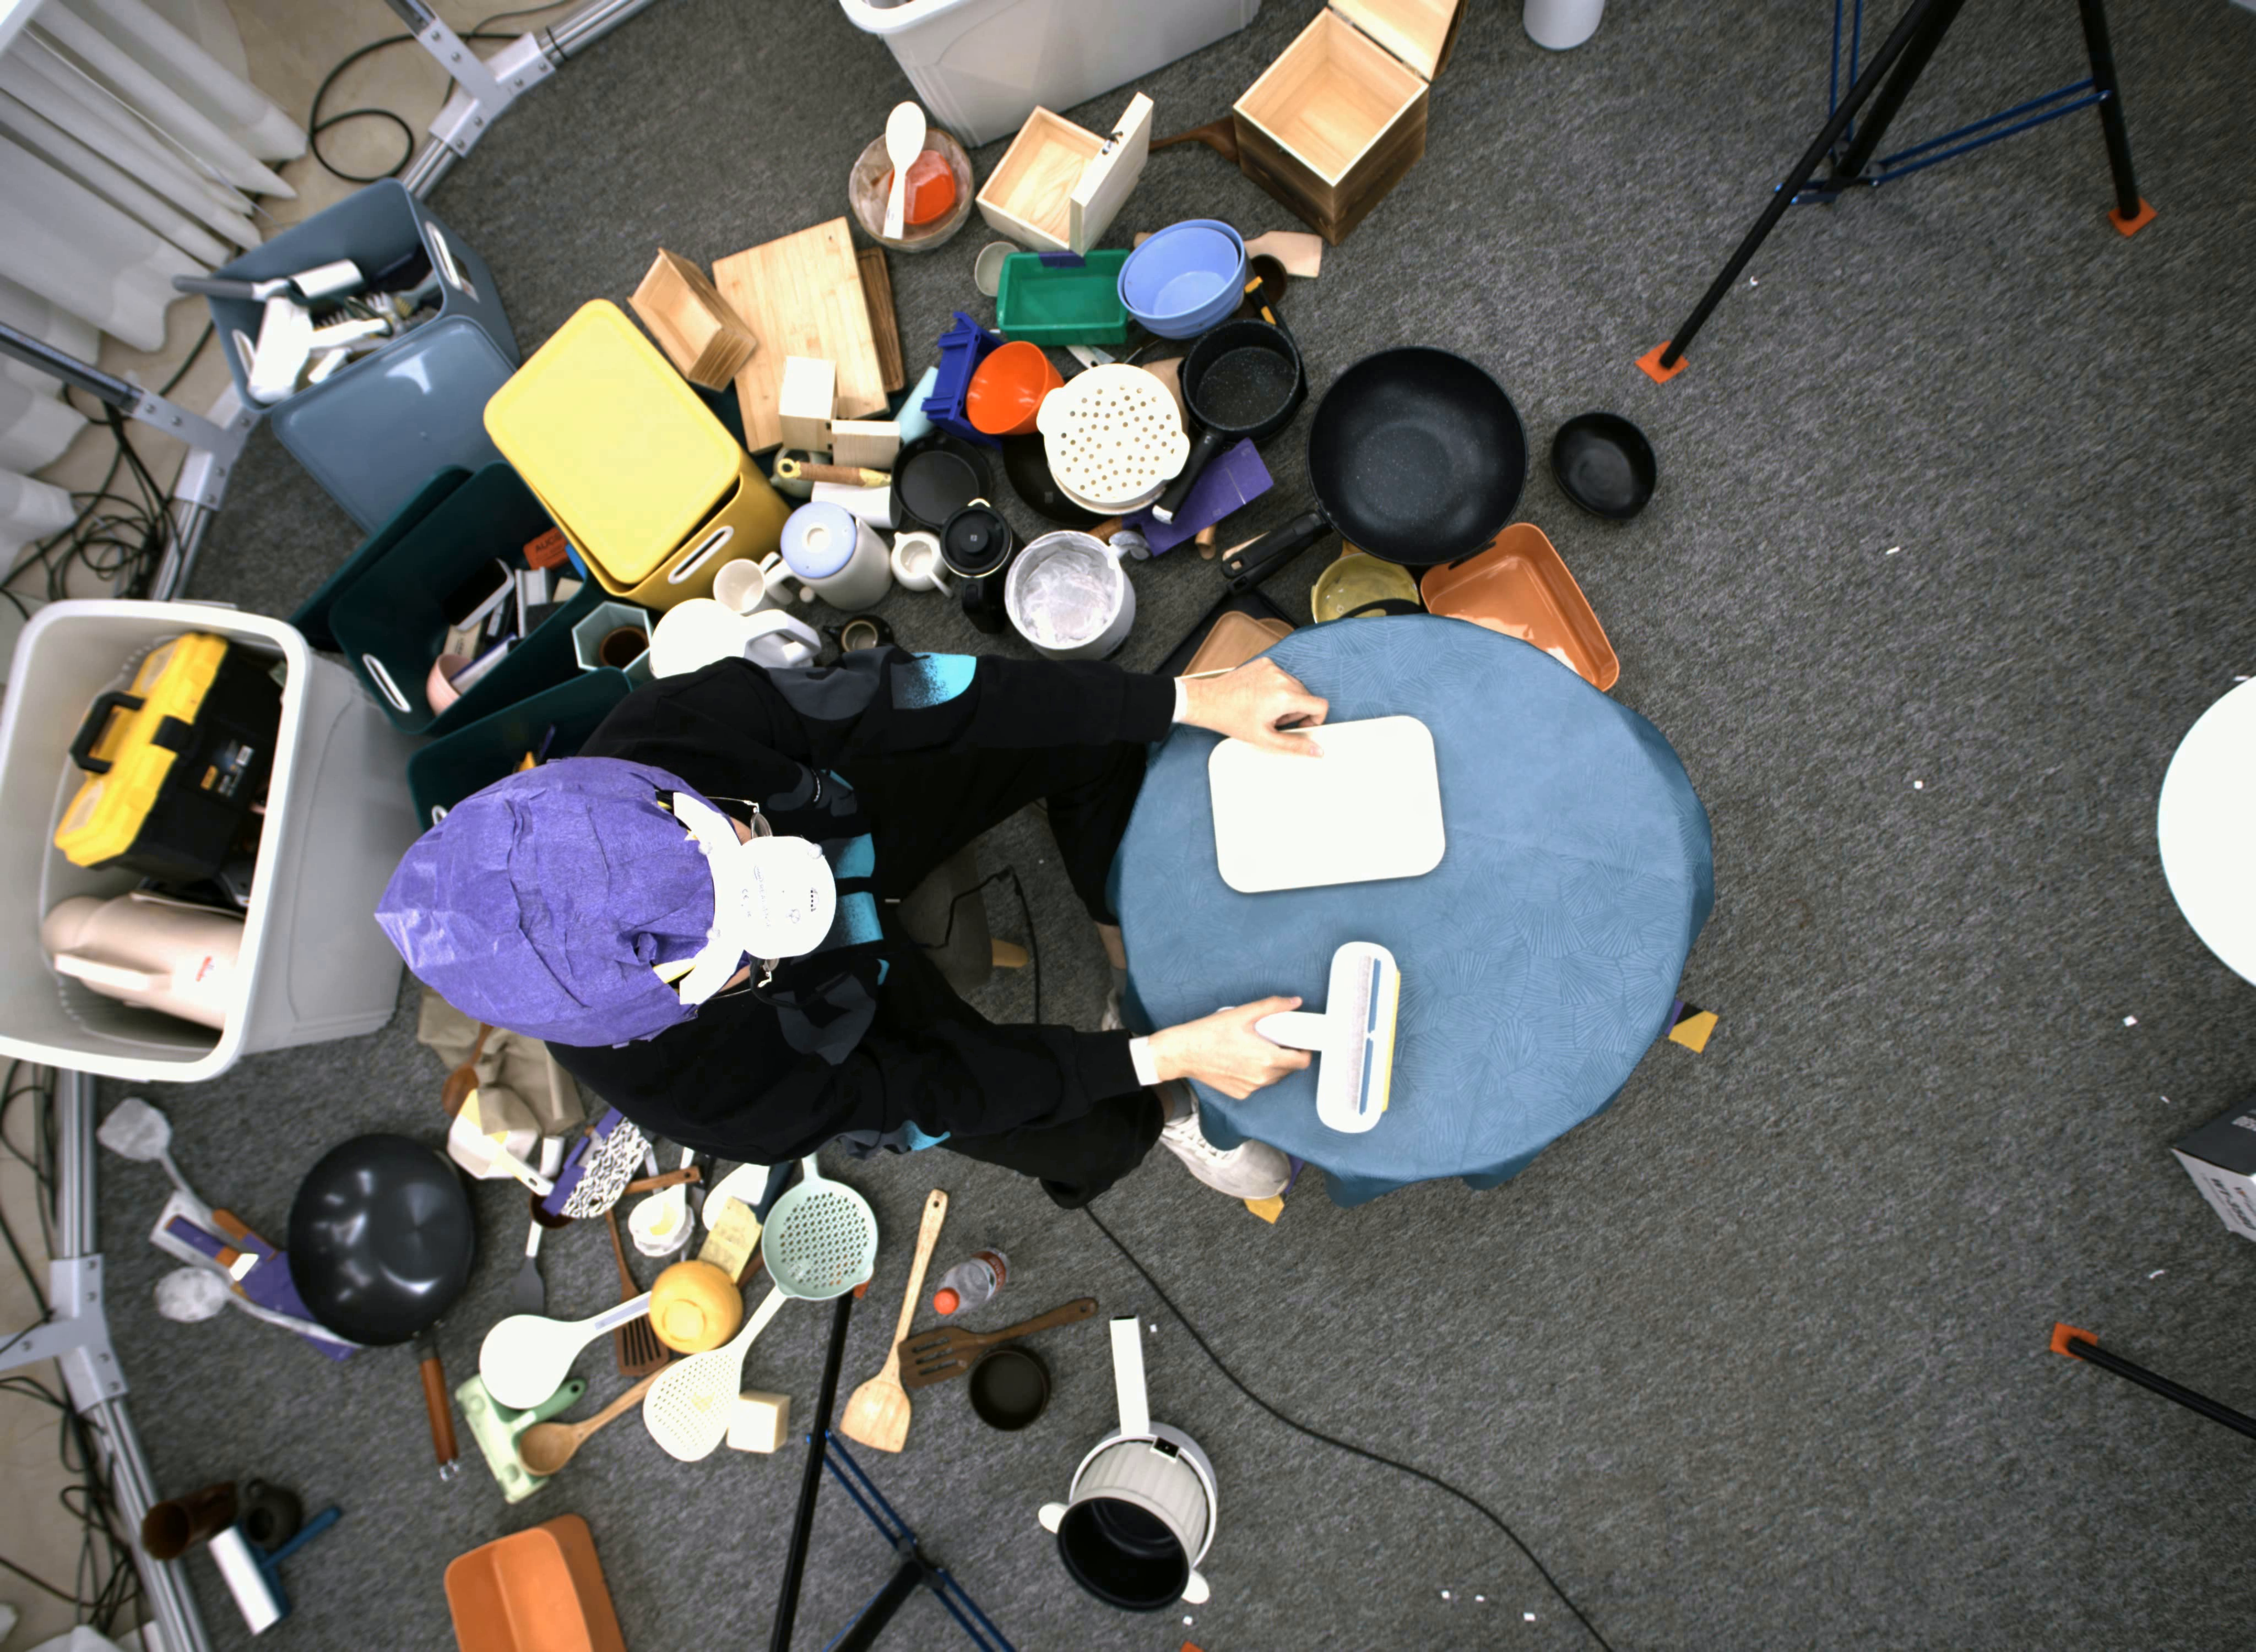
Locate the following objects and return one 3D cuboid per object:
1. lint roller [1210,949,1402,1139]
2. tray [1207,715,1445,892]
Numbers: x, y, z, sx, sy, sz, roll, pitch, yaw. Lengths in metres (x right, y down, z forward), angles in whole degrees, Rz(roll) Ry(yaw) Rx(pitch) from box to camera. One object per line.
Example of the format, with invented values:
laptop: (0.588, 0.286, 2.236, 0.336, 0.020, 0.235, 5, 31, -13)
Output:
lint roller: (0.177, 0.214, 1.431, 0.193, 0.074, 0.191, 8, 83, 12)
tray: (0.208, -0.024, 1.463, 0.241, 0.017, 0.170, -6, 87, 10)
